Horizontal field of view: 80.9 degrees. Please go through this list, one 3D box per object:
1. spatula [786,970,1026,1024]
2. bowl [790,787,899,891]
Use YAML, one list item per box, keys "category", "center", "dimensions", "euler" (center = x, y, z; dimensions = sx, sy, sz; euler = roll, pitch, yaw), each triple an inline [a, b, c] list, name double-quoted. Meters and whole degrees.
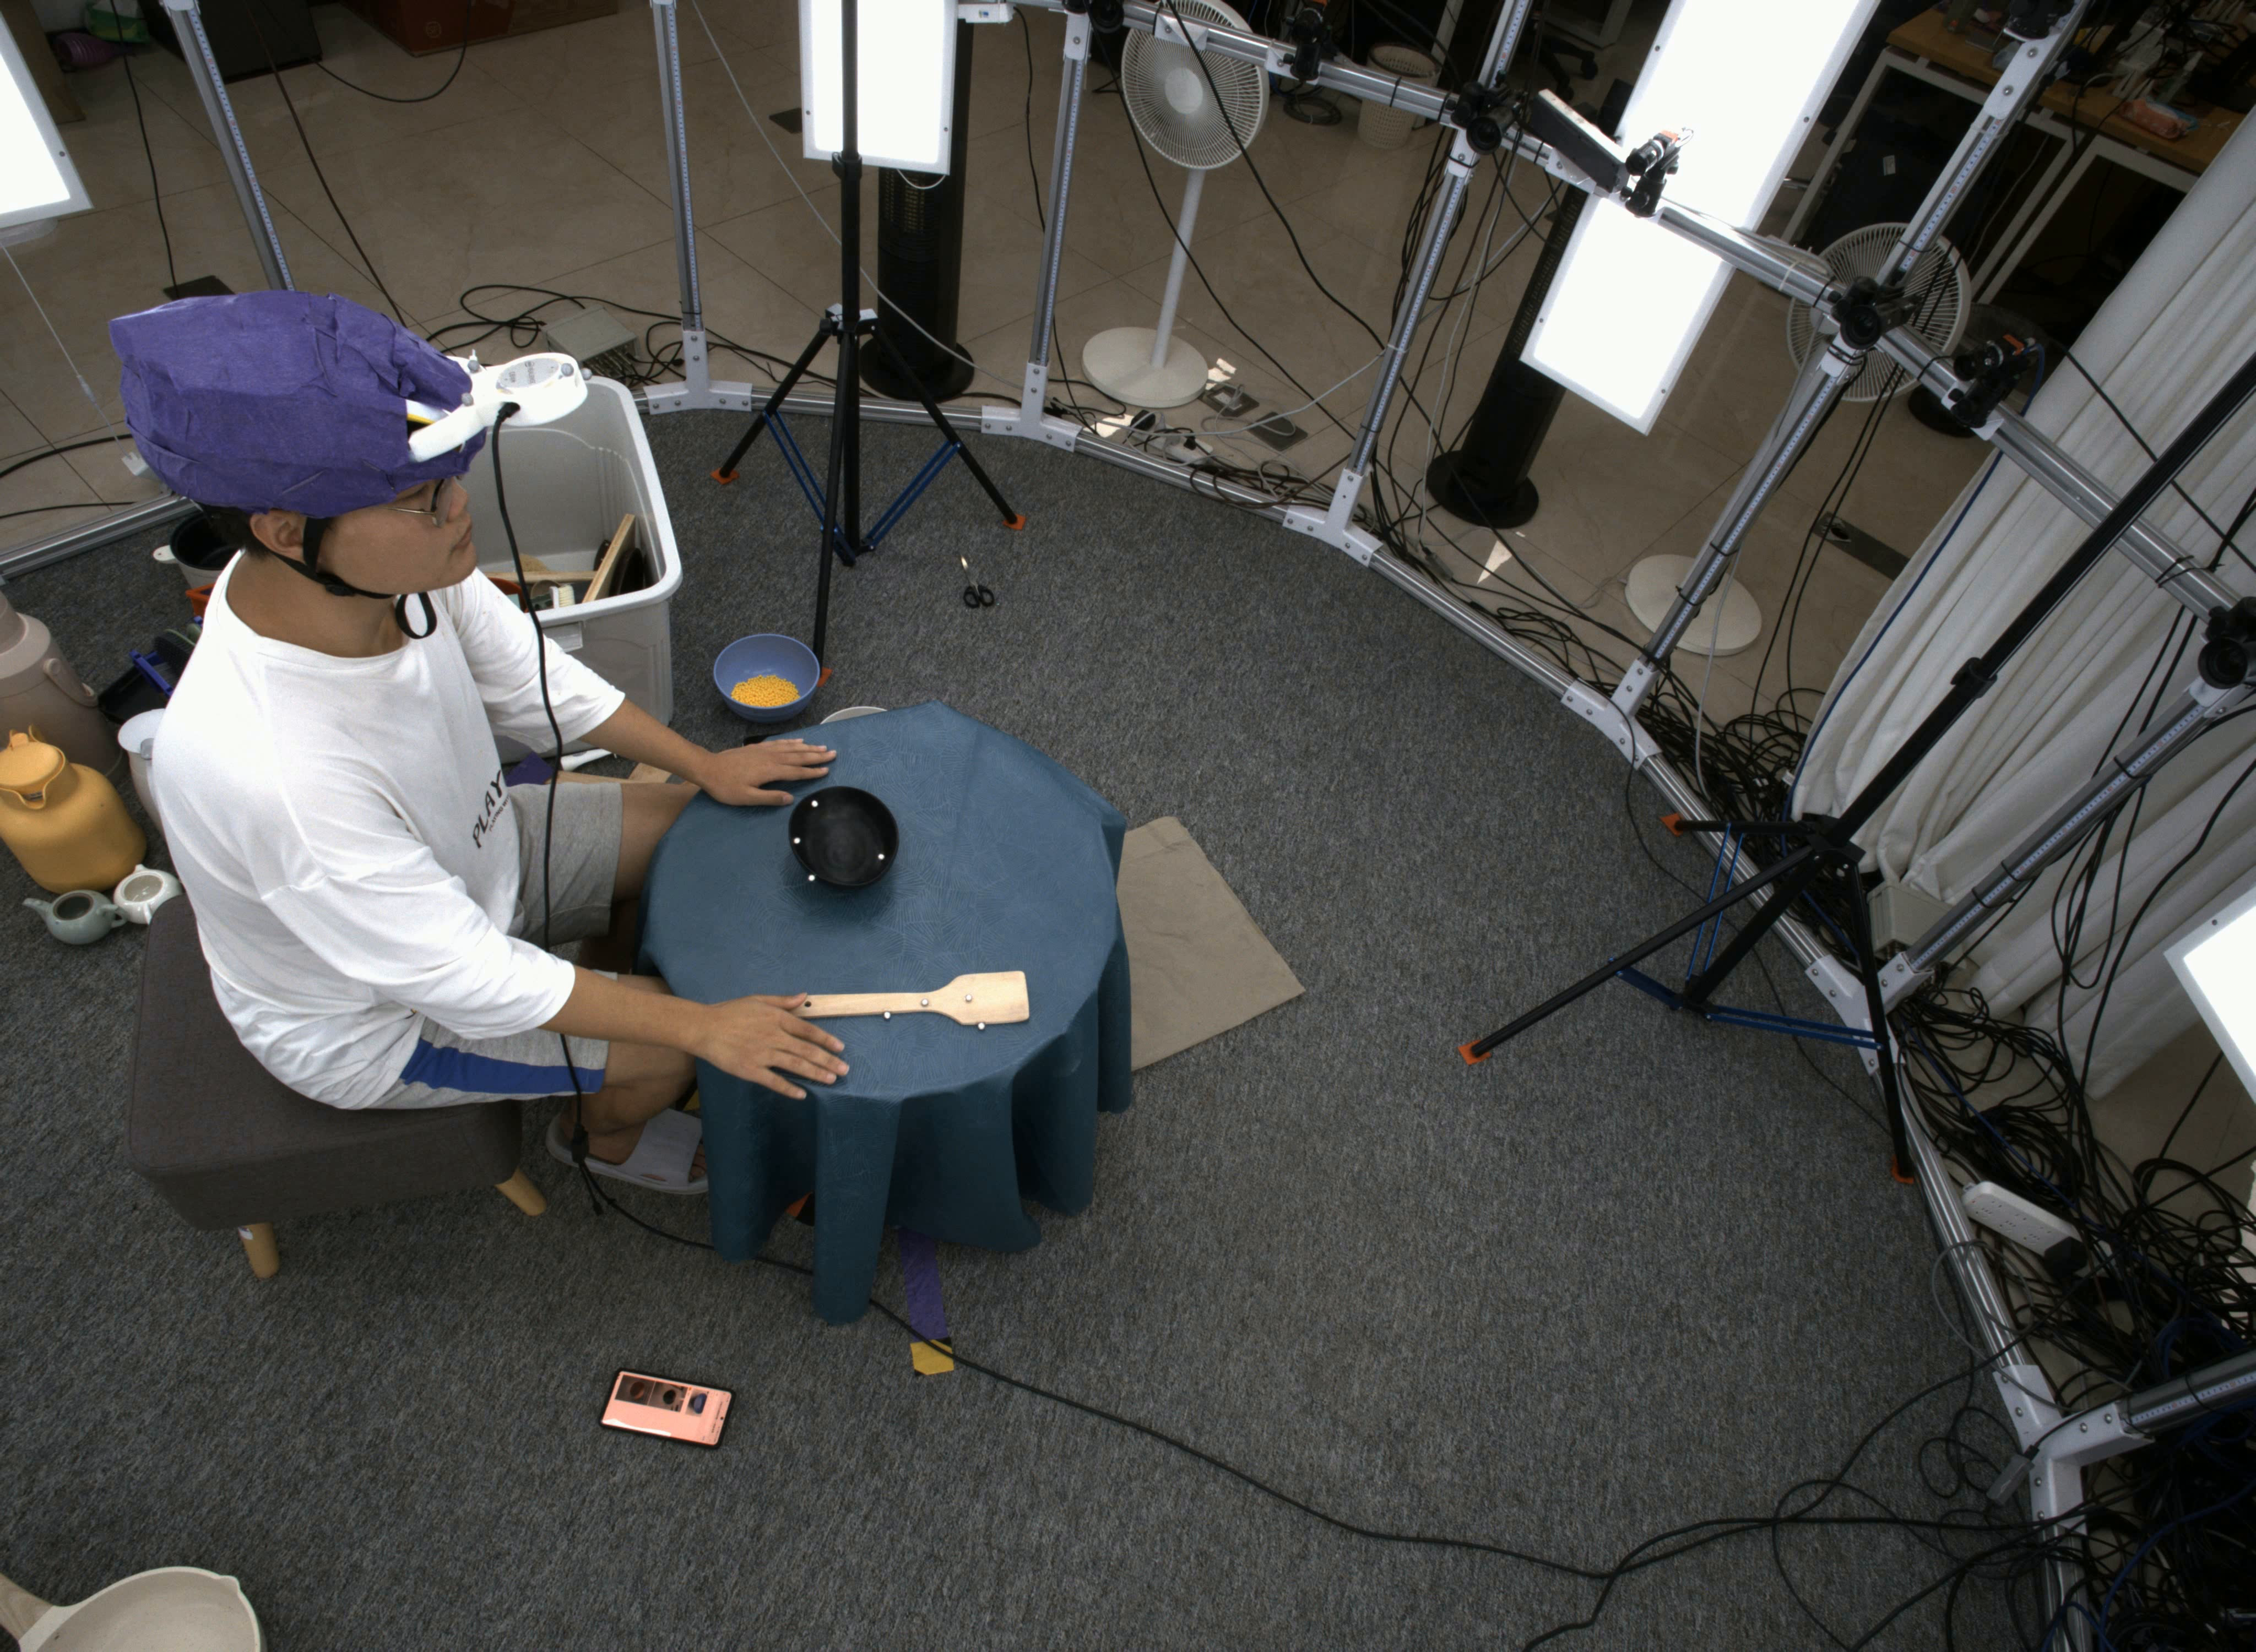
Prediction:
- category: "spatula"
  center: [-0.272, 0.216, 1.604]
  dimensions: [0.293, 0.011, 0.071]
  euler: [-2, 56, -15]
- category: "bowl"
  center: [-0.368, 0.024, 1.689]
  dimensions: [0.138, 0.068, 0.166]
  euler: [-14, 56, -21]
